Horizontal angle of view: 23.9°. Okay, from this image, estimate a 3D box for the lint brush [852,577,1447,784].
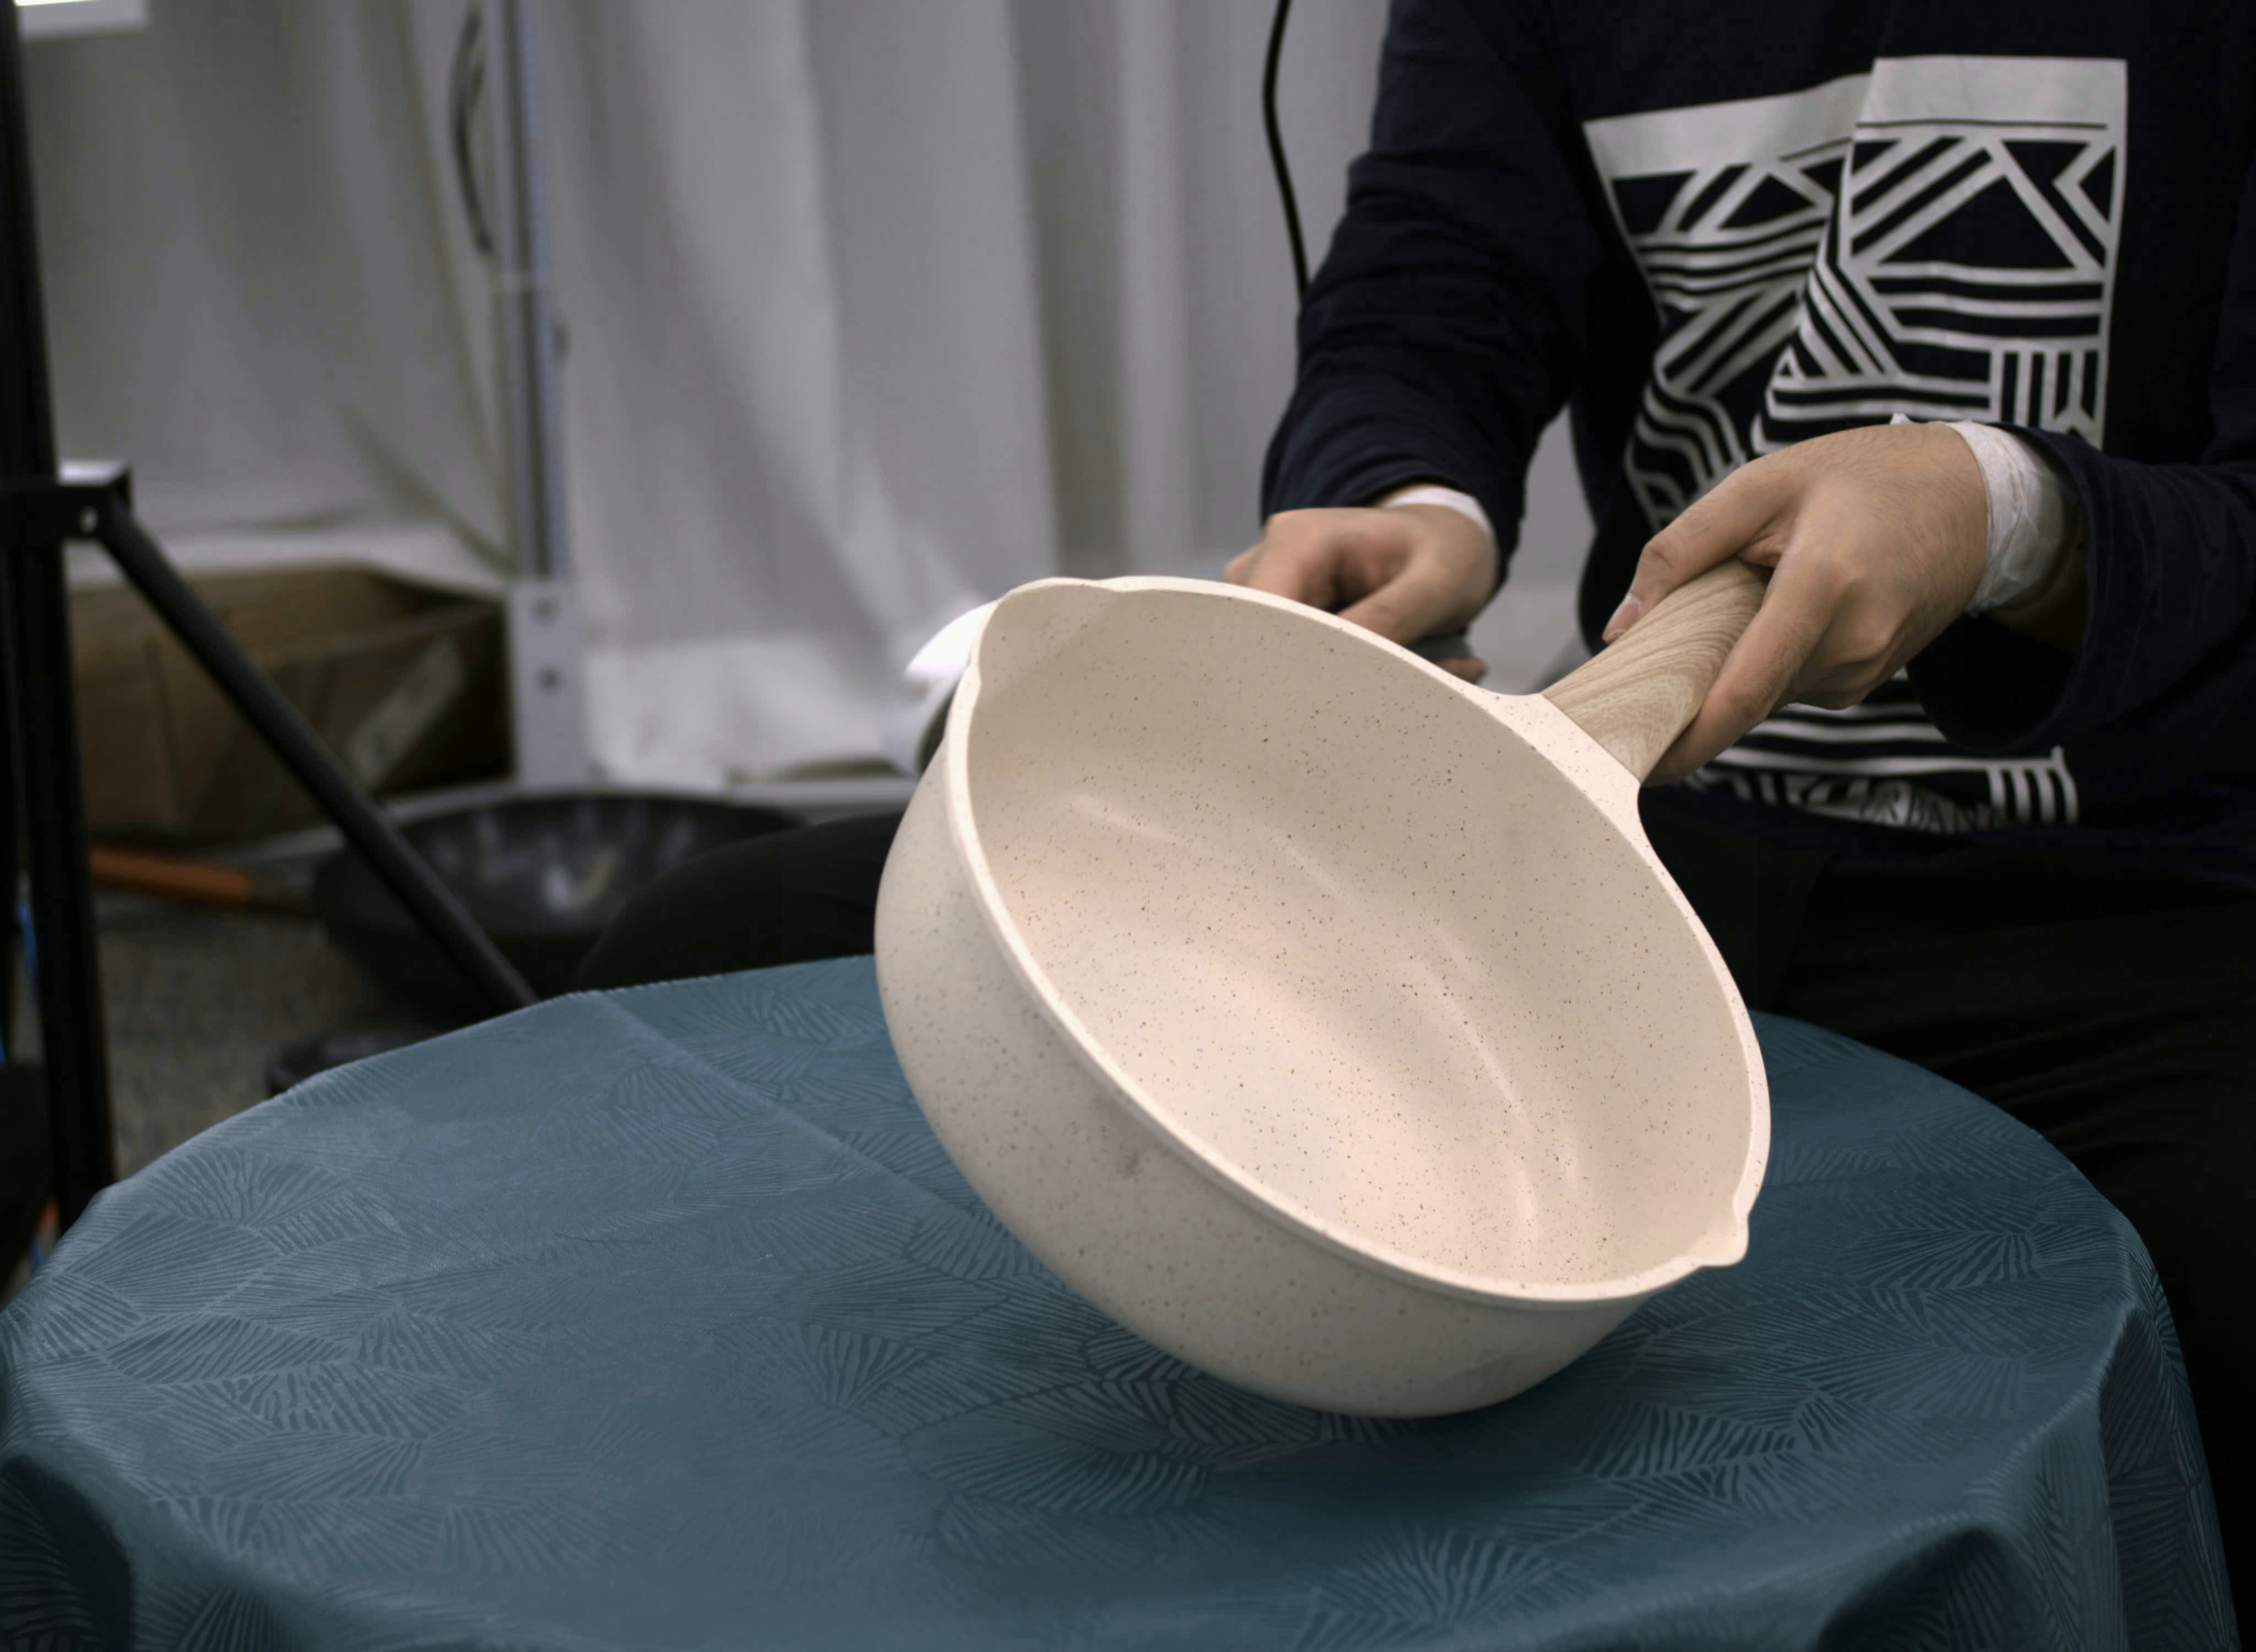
[{"bbox_3d":[0.015,-0.045,1.550,0.021,0.060,0.302,40,22,24],"label":"lint brush"}]

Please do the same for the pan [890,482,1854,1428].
[{"bbox_3d":[0.096,0.016,1.481,0.265,0.102,0.428,38,36,11],"label":"pan"}]
